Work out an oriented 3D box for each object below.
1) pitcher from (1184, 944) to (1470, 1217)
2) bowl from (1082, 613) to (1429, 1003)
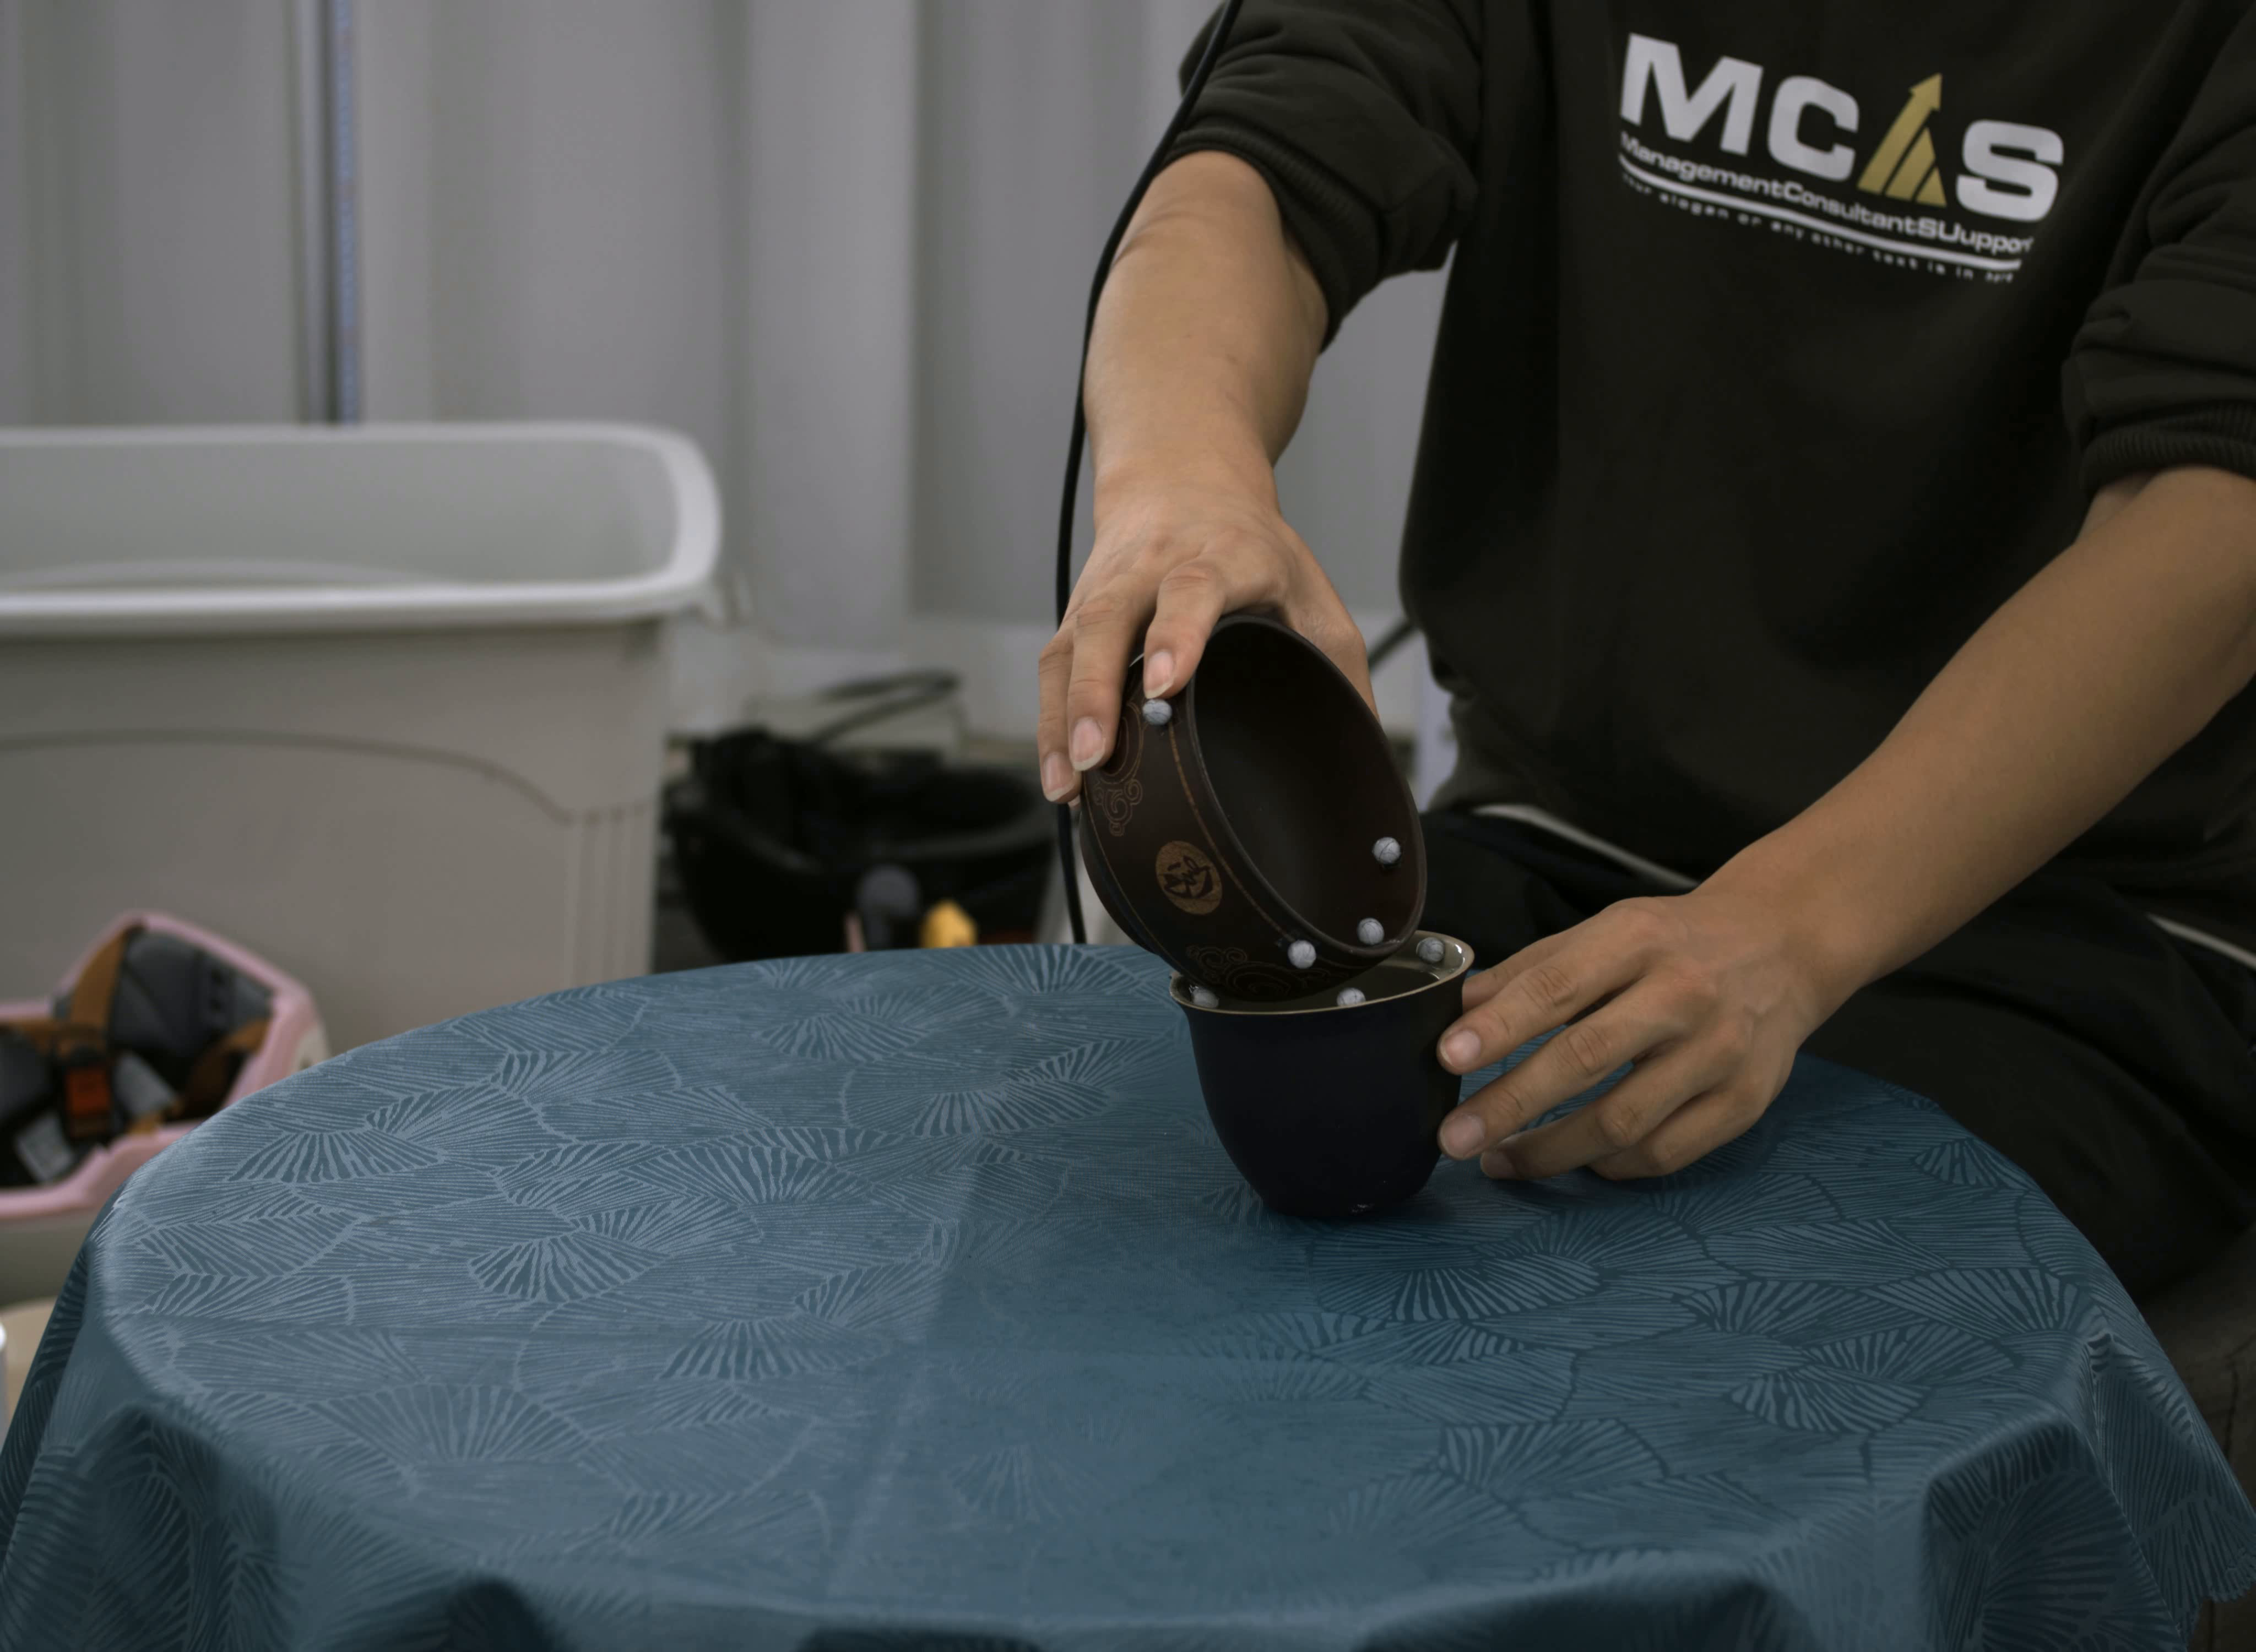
[{"bbox_3d":[0.062,0.078,1.615,0.095,0.072,0.084,1,19,41],"label":"pitcher"},{"bbox_3d":[0.030,0.001,1.608,0.069,0.118,0.118,-29,1,29],"label":"bowl"}]
